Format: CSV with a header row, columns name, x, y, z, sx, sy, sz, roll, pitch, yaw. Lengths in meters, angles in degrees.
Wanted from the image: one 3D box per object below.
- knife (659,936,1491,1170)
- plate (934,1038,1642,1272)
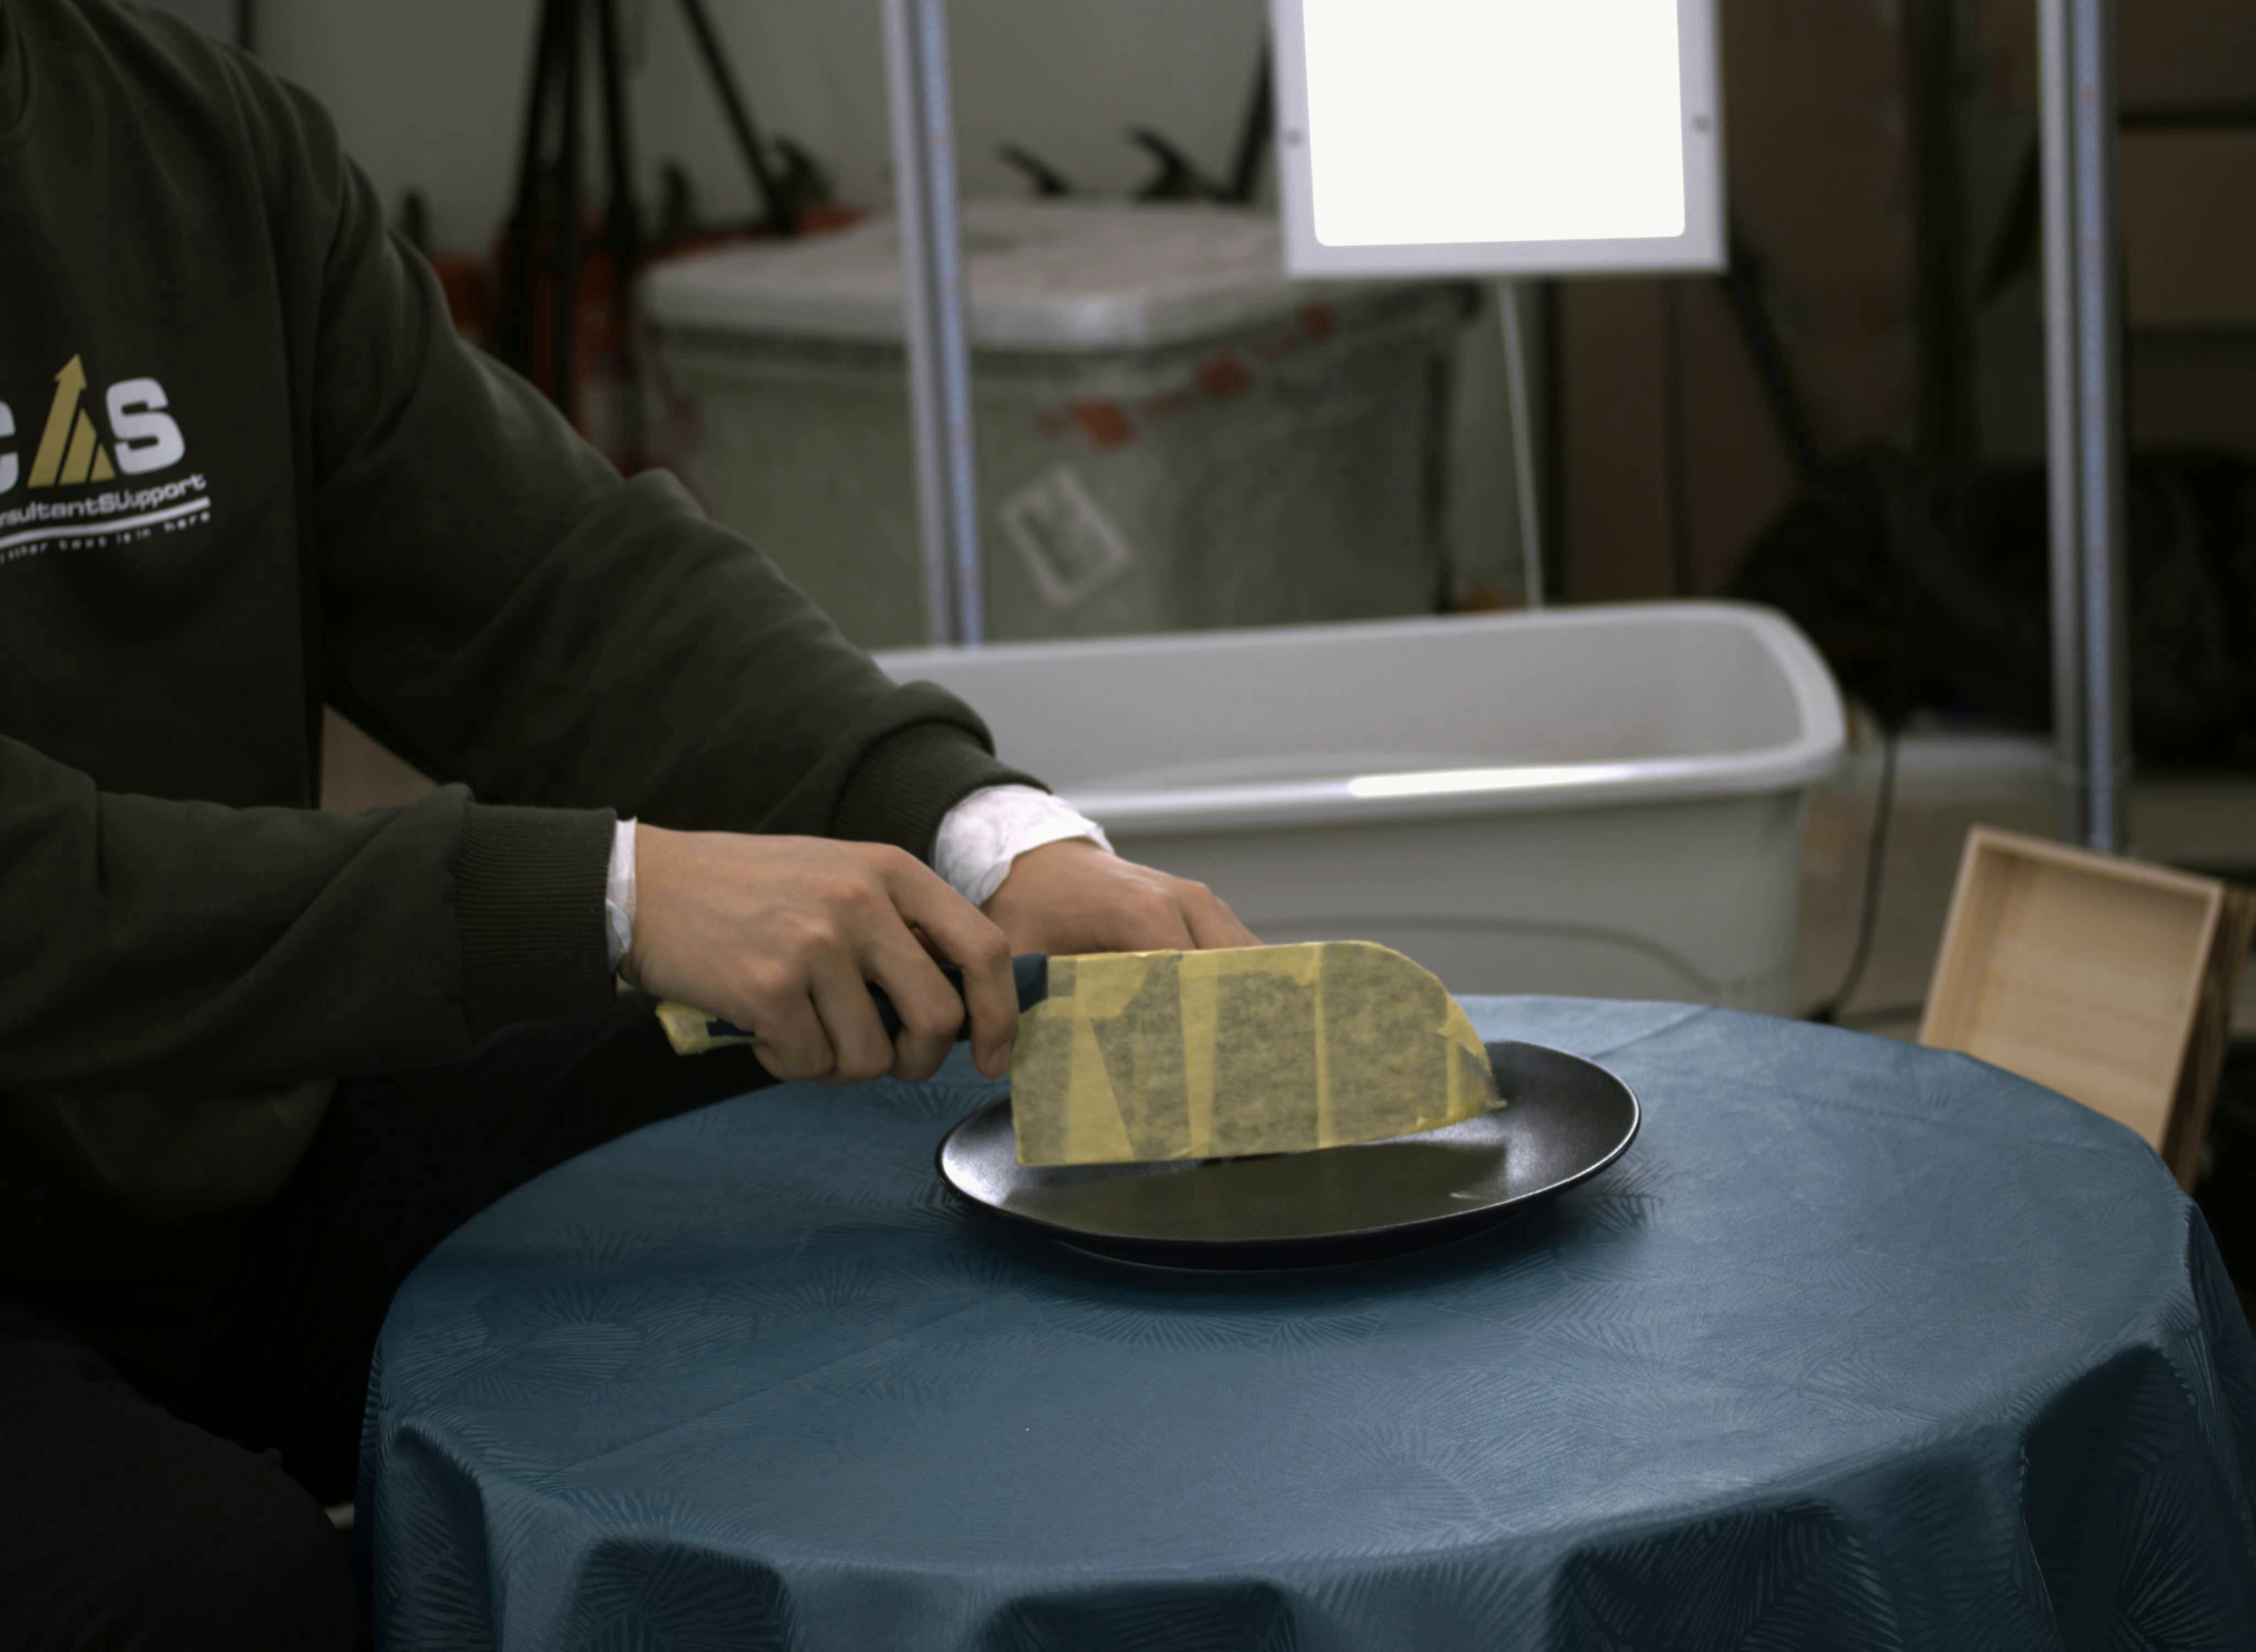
name,x,y,z,sx,sy,sz,roll,pitch,yaw
knife,-0.017,0.078,1.895,0.288,0.081,0.027,0,2,-2
plate,0.056,0.114,1.886,0.244,0.023,0.244,-5,13,0
